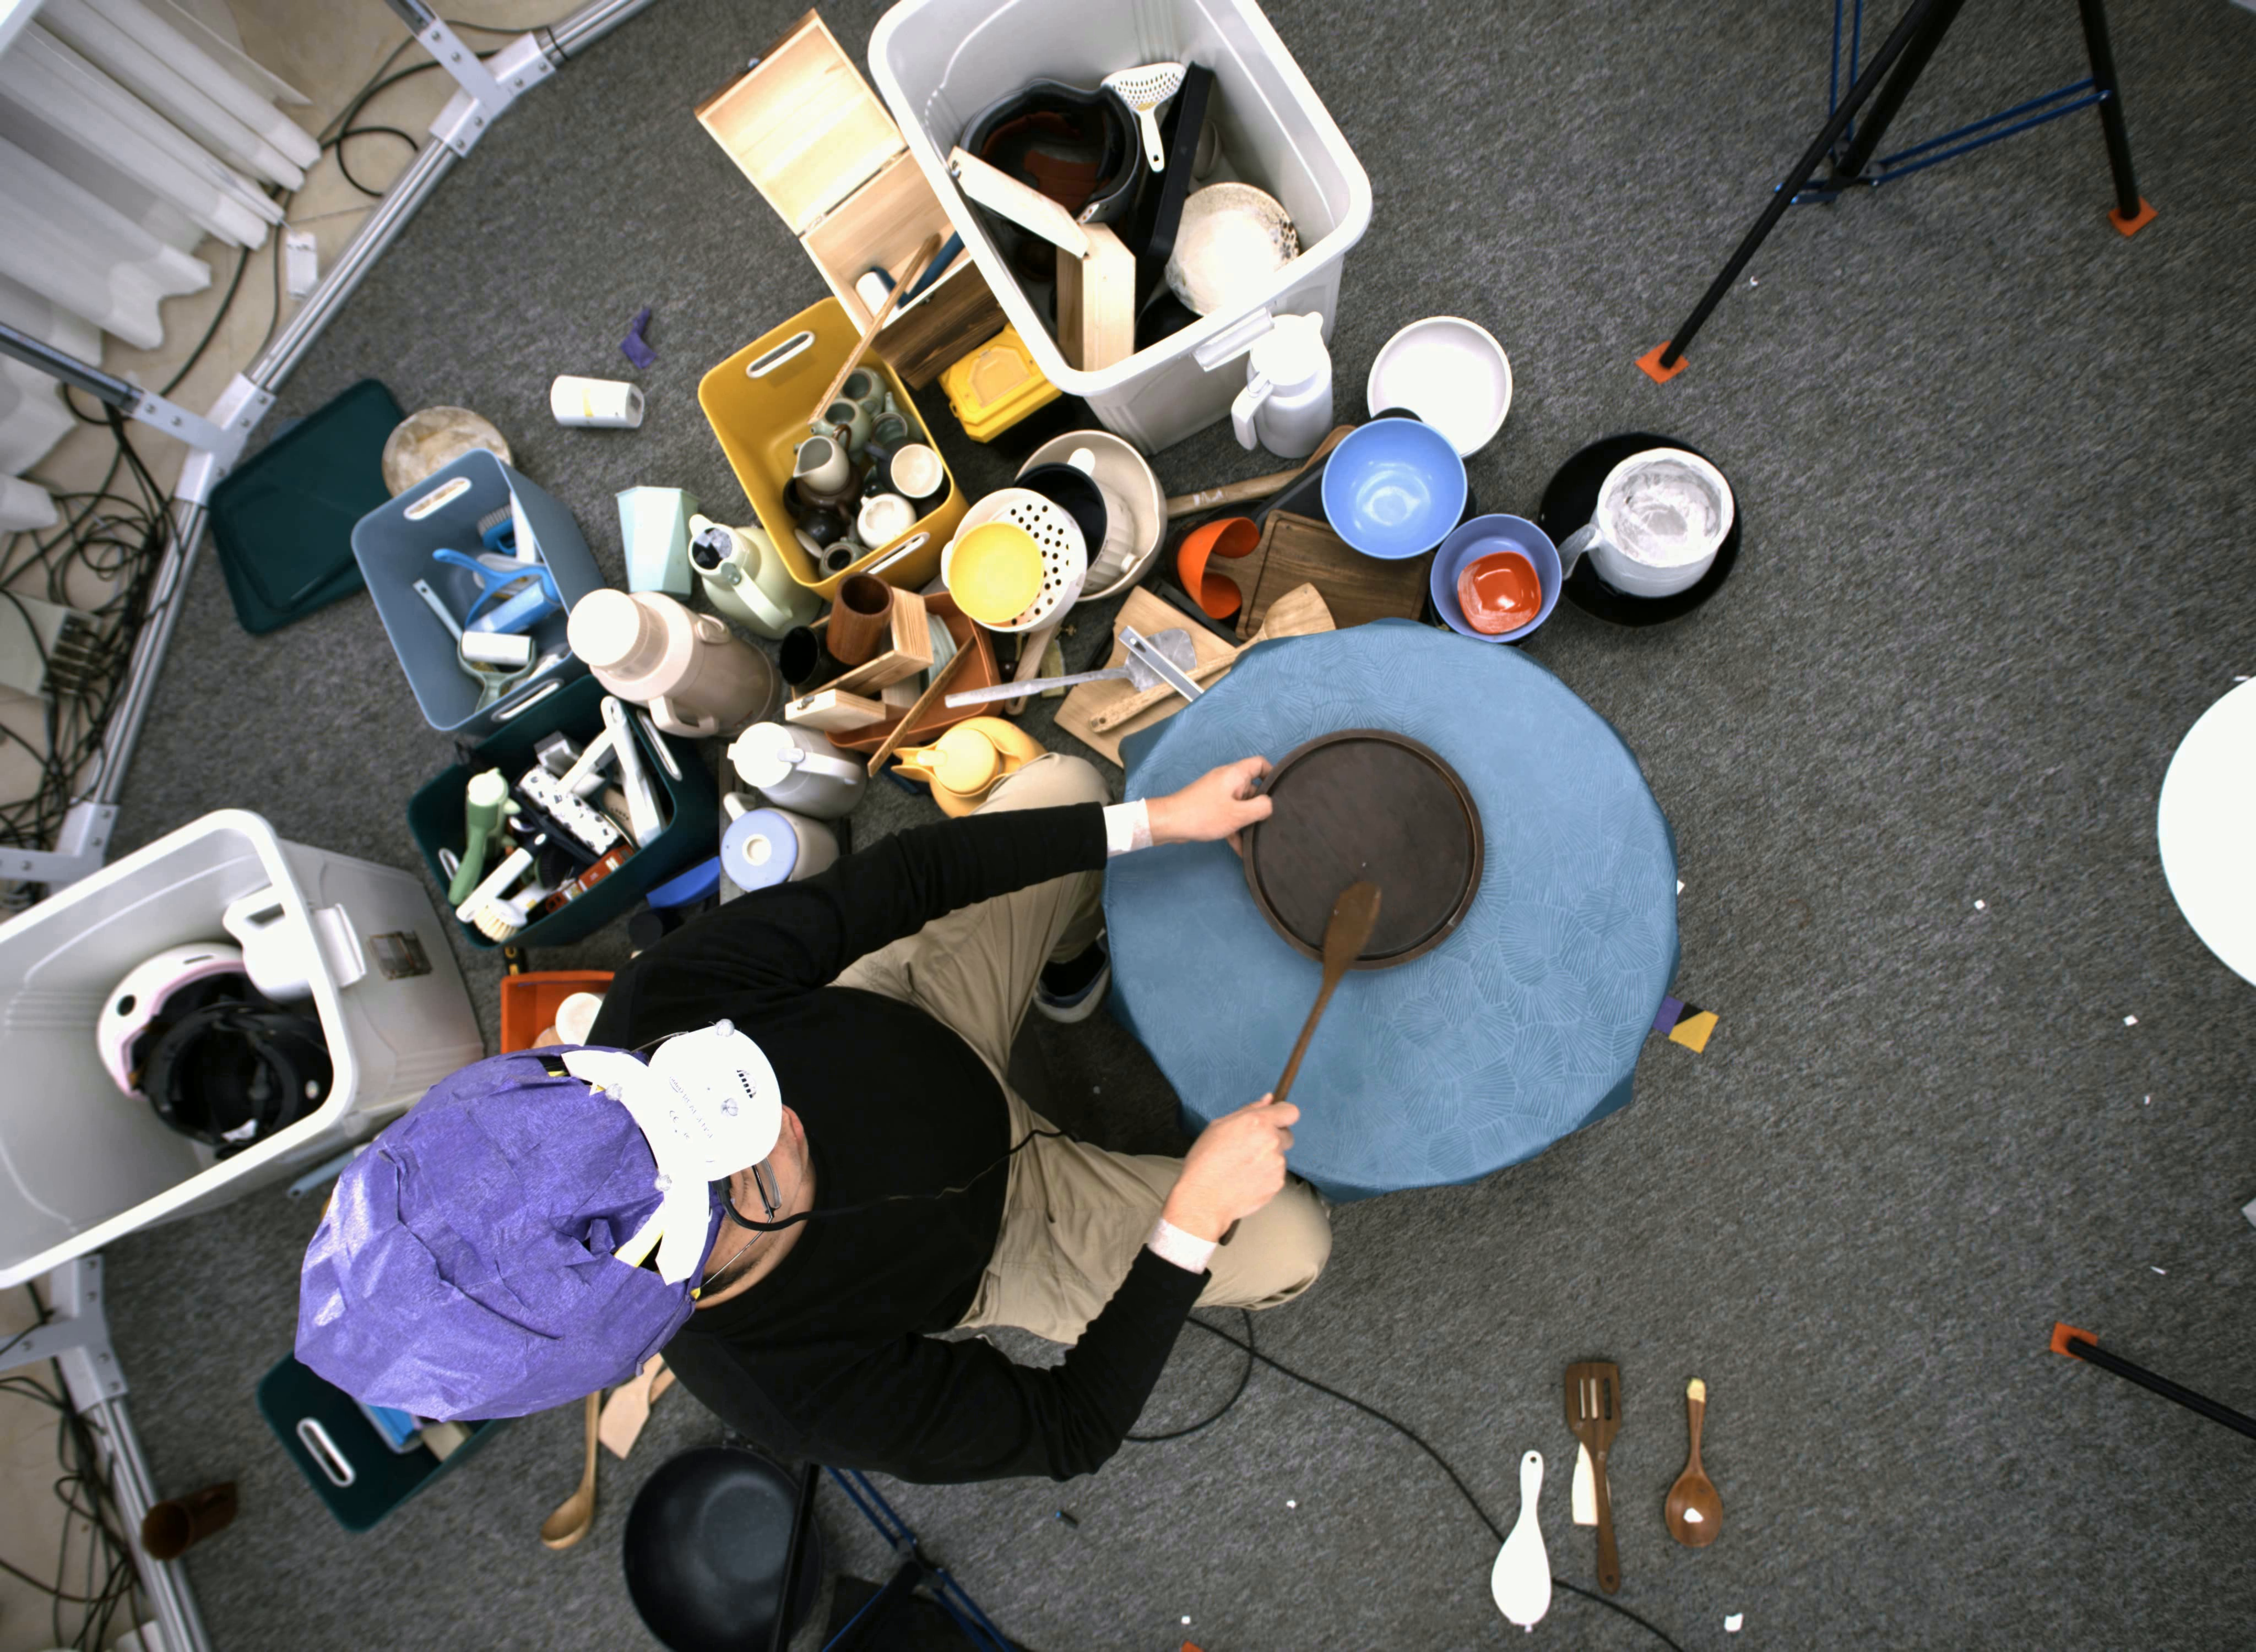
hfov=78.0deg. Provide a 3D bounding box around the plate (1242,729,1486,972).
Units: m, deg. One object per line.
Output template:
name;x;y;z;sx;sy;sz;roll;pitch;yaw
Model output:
plate;0.244;0.024;1.437;0.255;0.029;0.254;0;90;0

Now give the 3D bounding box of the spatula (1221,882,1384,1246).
spatula;0.168;0.224;1.350;0.016;0.097;0.380;29;75;-10
